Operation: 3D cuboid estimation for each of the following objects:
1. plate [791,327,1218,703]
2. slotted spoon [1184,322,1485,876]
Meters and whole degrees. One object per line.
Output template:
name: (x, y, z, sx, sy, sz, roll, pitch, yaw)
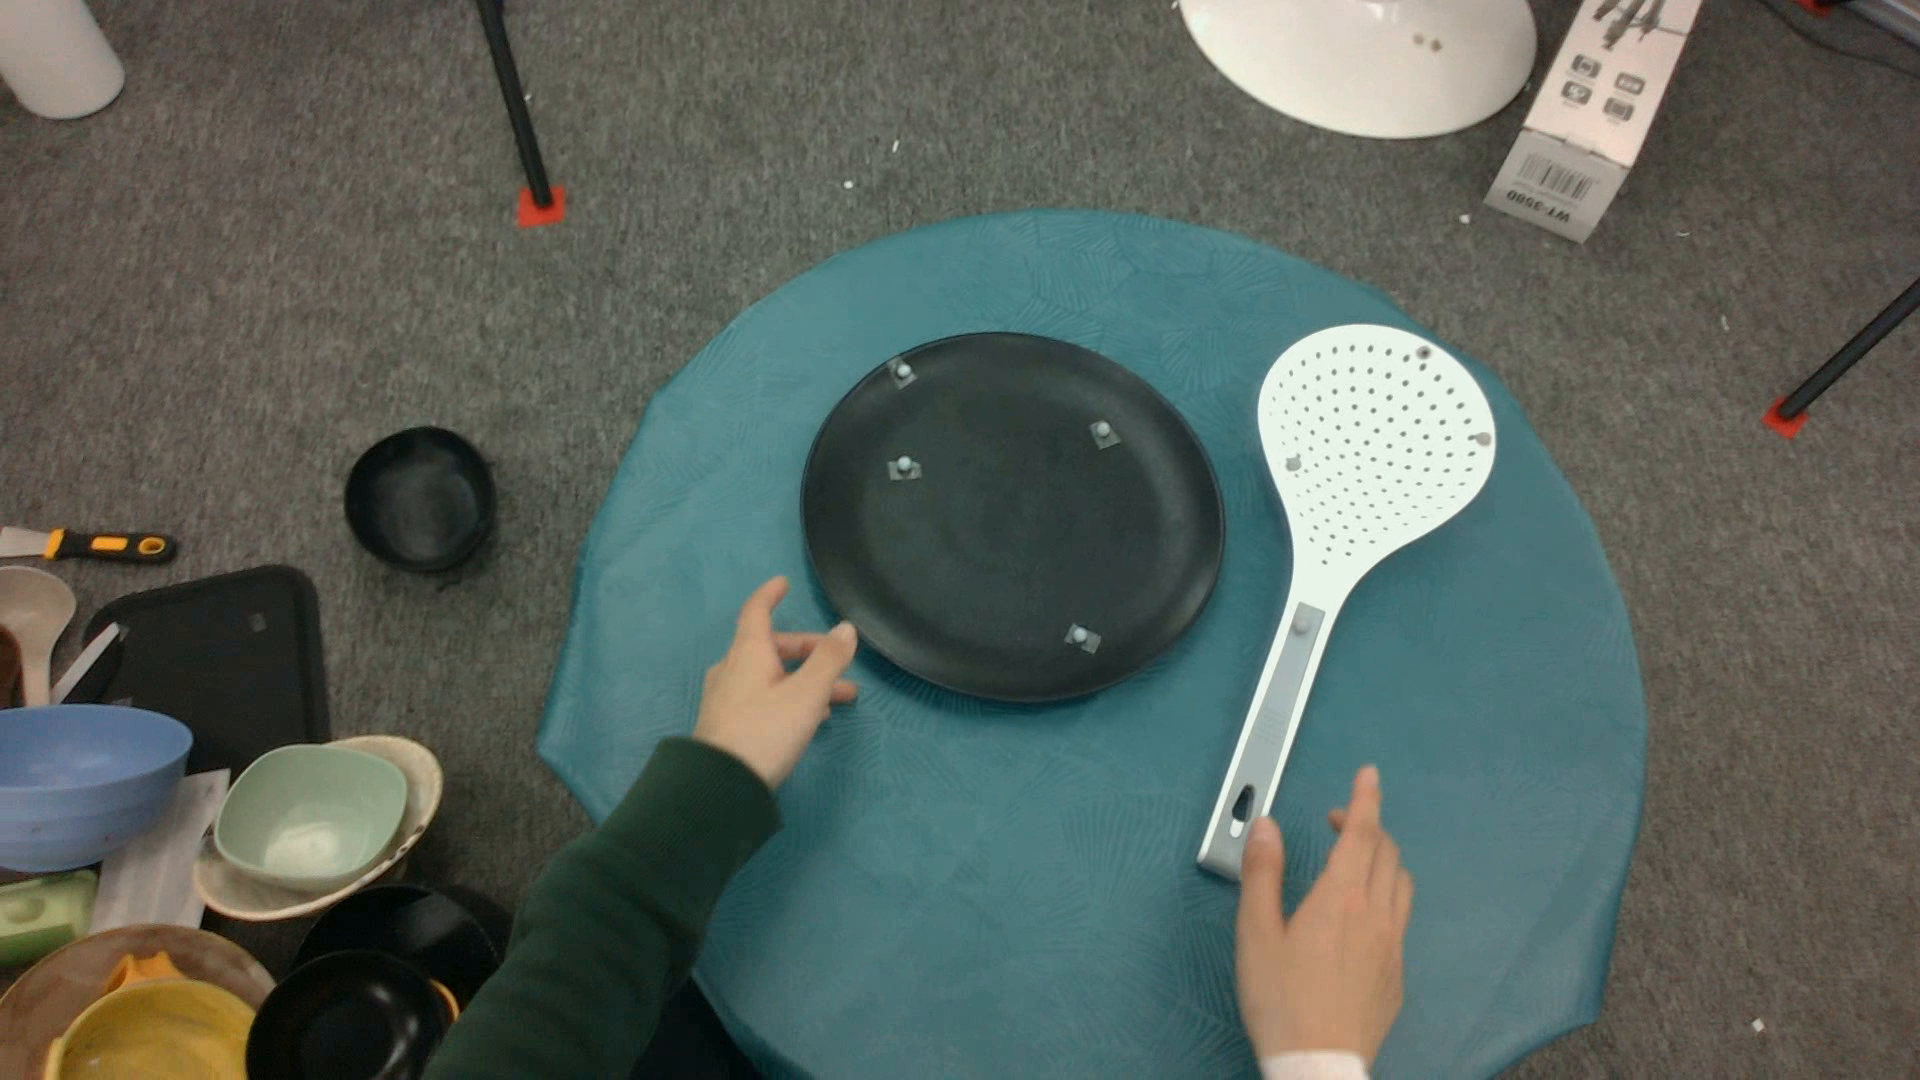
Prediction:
plate: (0.026, -0.019, 0.788, 0.244, 0.023, 0.245, 3, 61, -5)
slotted spoon: (0.196, 0.023, 0.770, 0.136, 0.045, 0.351, 22, 62, 9)
